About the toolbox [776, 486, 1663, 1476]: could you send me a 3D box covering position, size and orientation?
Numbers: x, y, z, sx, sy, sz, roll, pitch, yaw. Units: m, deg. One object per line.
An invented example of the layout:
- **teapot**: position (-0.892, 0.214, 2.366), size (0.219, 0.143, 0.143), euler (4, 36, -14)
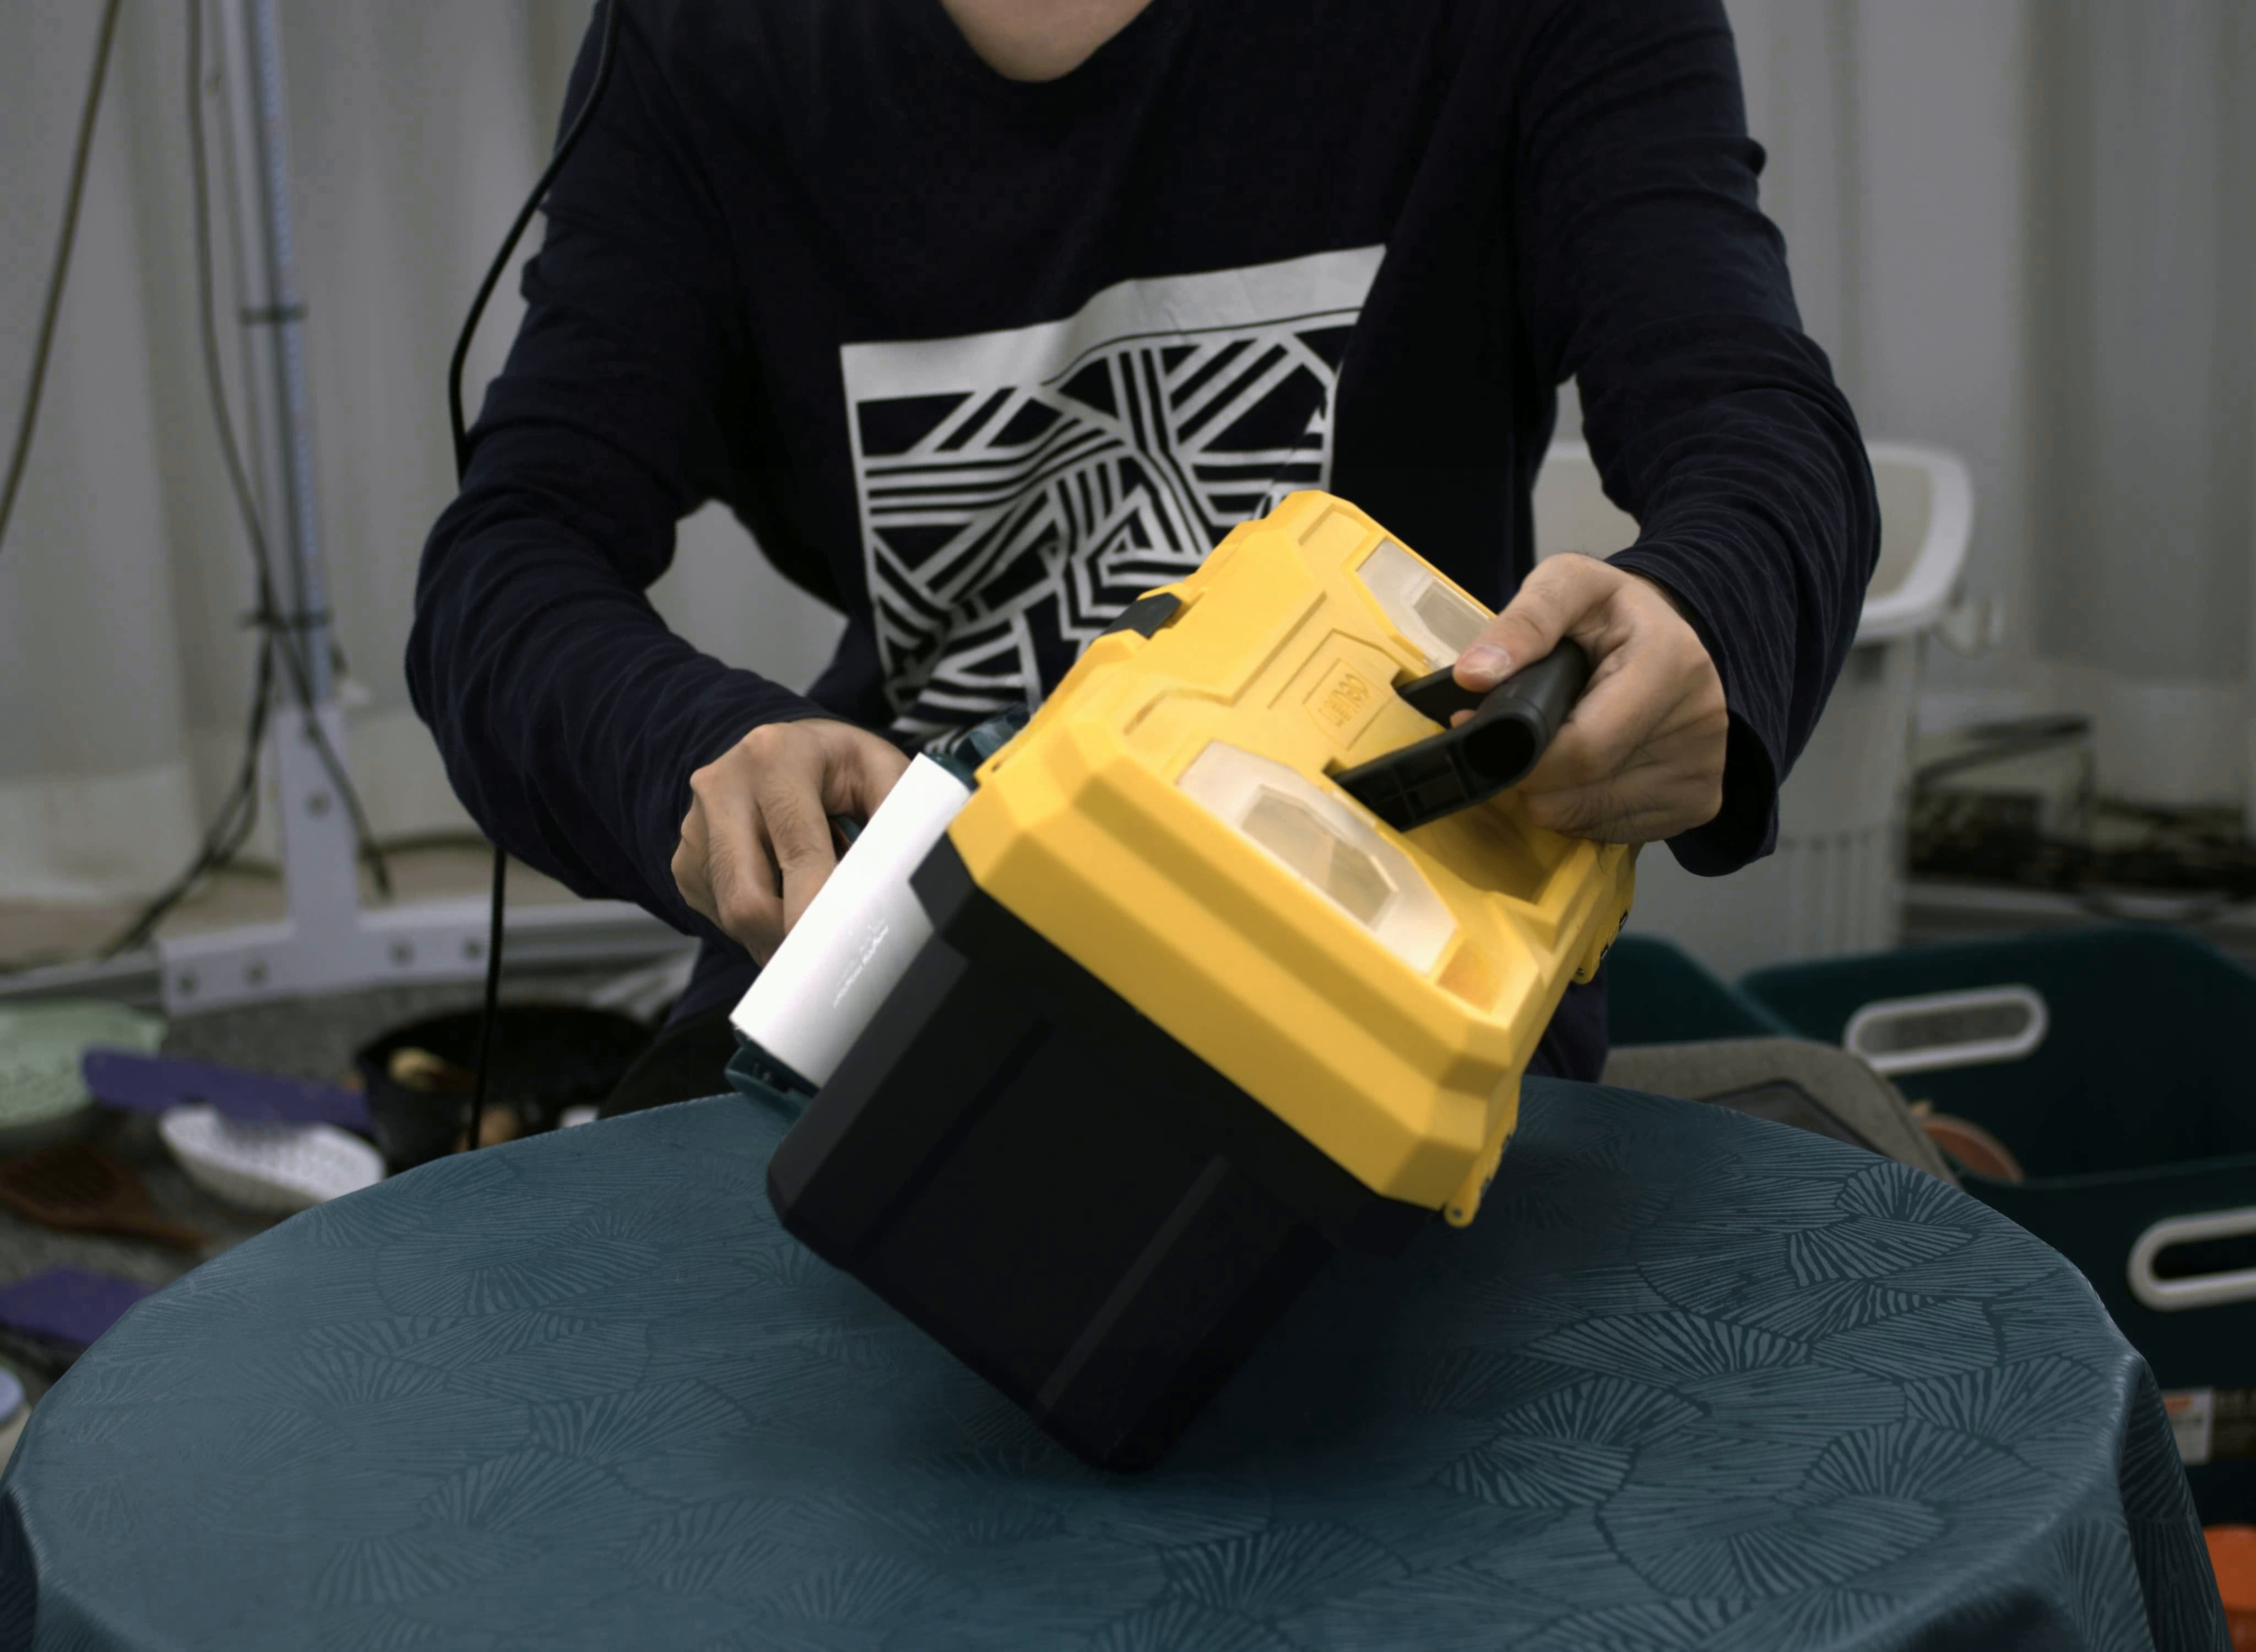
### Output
- **toolbox**: position (0.031, 0.036, 1.595), size (0.181, 0.172, 0.353), euler (38, 20, 1)

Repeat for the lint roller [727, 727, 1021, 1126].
- **lint roller**: position (-0.093, 0.019, 1.718), size (0.048, 0.134, 0.181), euler (36, -3, -21)
